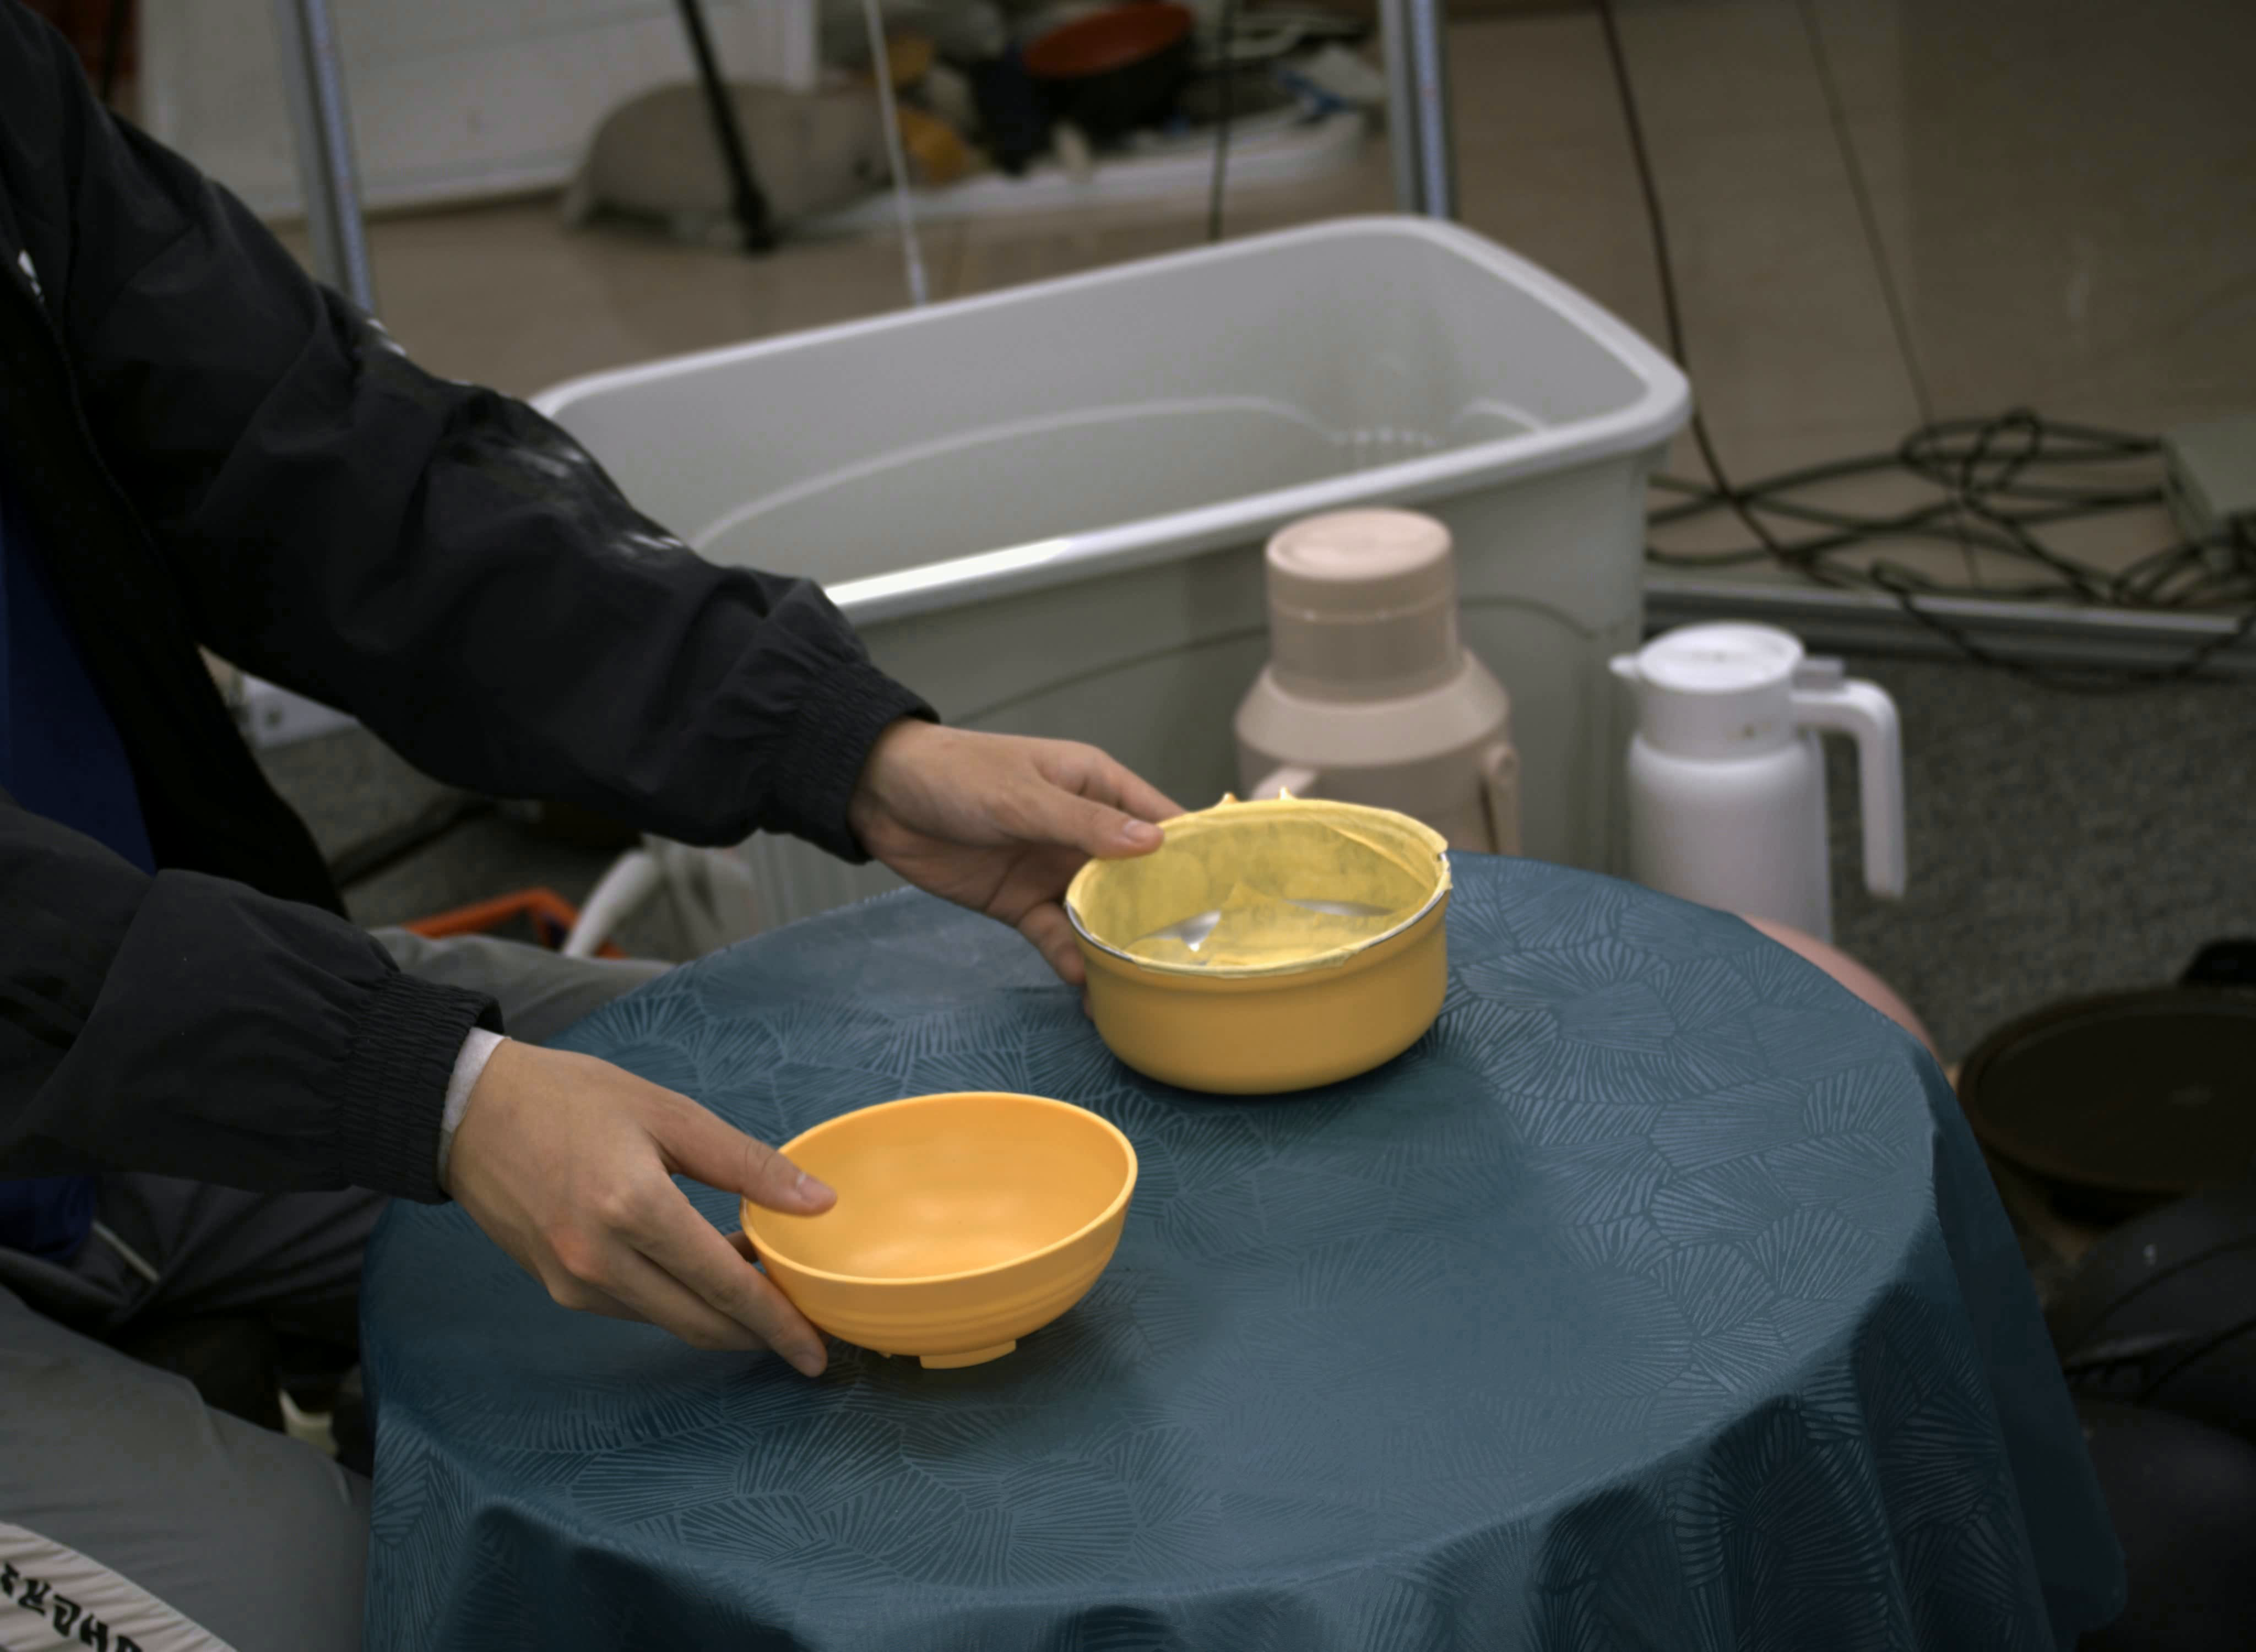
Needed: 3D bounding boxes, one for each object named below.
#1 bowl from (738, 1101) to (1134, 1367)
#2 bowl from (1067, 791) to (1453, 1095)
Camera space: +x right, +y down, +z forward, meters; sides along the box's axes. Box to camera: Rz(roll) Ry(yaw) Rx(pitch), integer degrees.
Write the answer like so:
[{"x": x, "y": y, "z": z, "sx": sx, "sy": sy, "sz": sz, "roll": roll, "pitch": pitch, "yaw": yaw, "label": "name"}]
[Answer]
[{"x": -0.068, "y": 0.155, "z": 2.057, "sx": 0.145, "sy": 0.061, "sz": 0.143, "roll": -4, "pitch": 23, "yaw": 2, "label": "bowl"}, {"x": 0.056, "y": 0.045, "z": 2.252, "sx": 0.153, "sy": 0.075, "sz": 0.176, "roll": -9, "pitch": 26, "yaw": 1, "label": "bowl"}]
